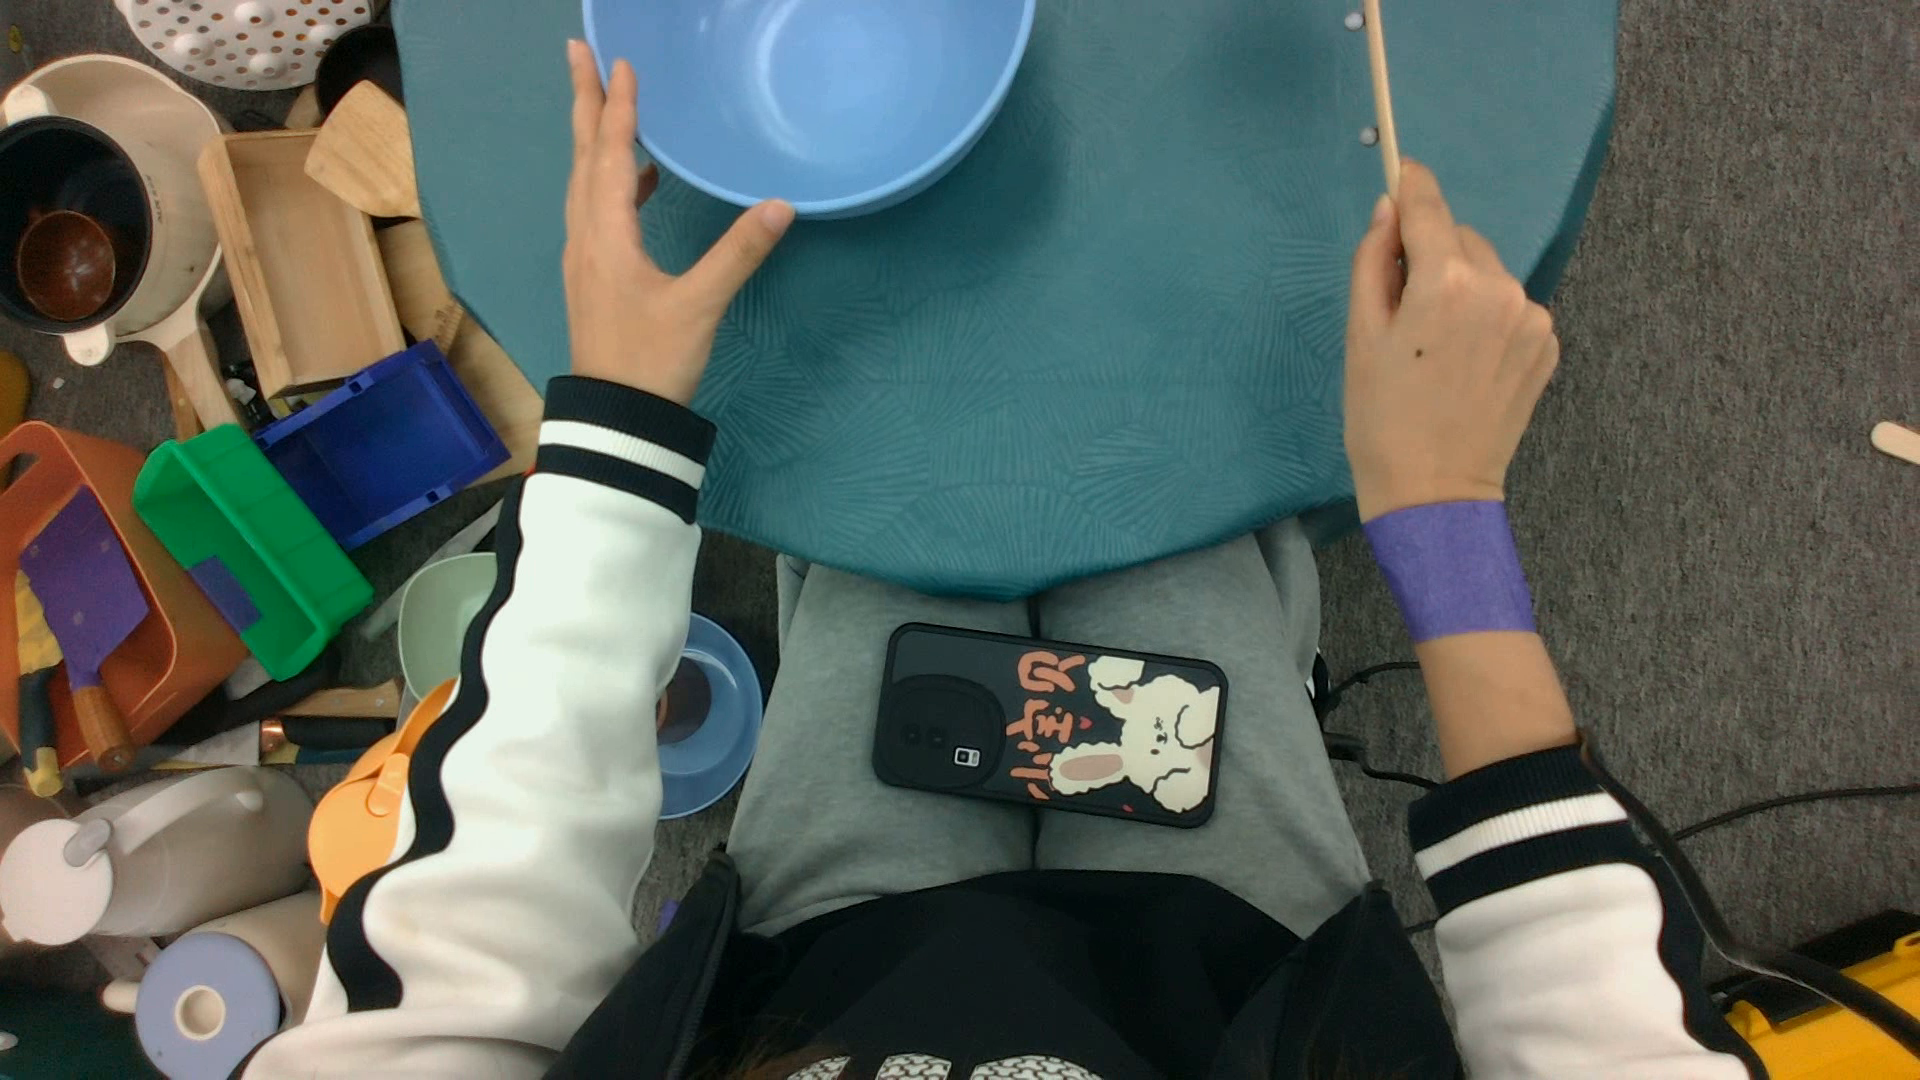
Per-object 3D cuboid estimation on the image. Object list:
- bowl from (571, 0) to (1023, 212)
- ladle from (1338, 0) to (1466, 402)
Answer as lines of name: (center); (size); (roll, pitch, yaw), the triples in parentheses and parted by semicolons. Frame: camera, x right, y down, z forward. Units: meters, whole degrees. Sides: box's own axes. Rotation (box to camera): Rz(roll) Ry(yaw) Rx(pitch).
bowl: (-0.068, -0.237, 0.635); (0.196, 0.095, 0.196); (0, 87, 3)
ladle: (0.140, -0.171, 0.563); (0.073, 0.072, 0.255); (-11, 80, 4)
